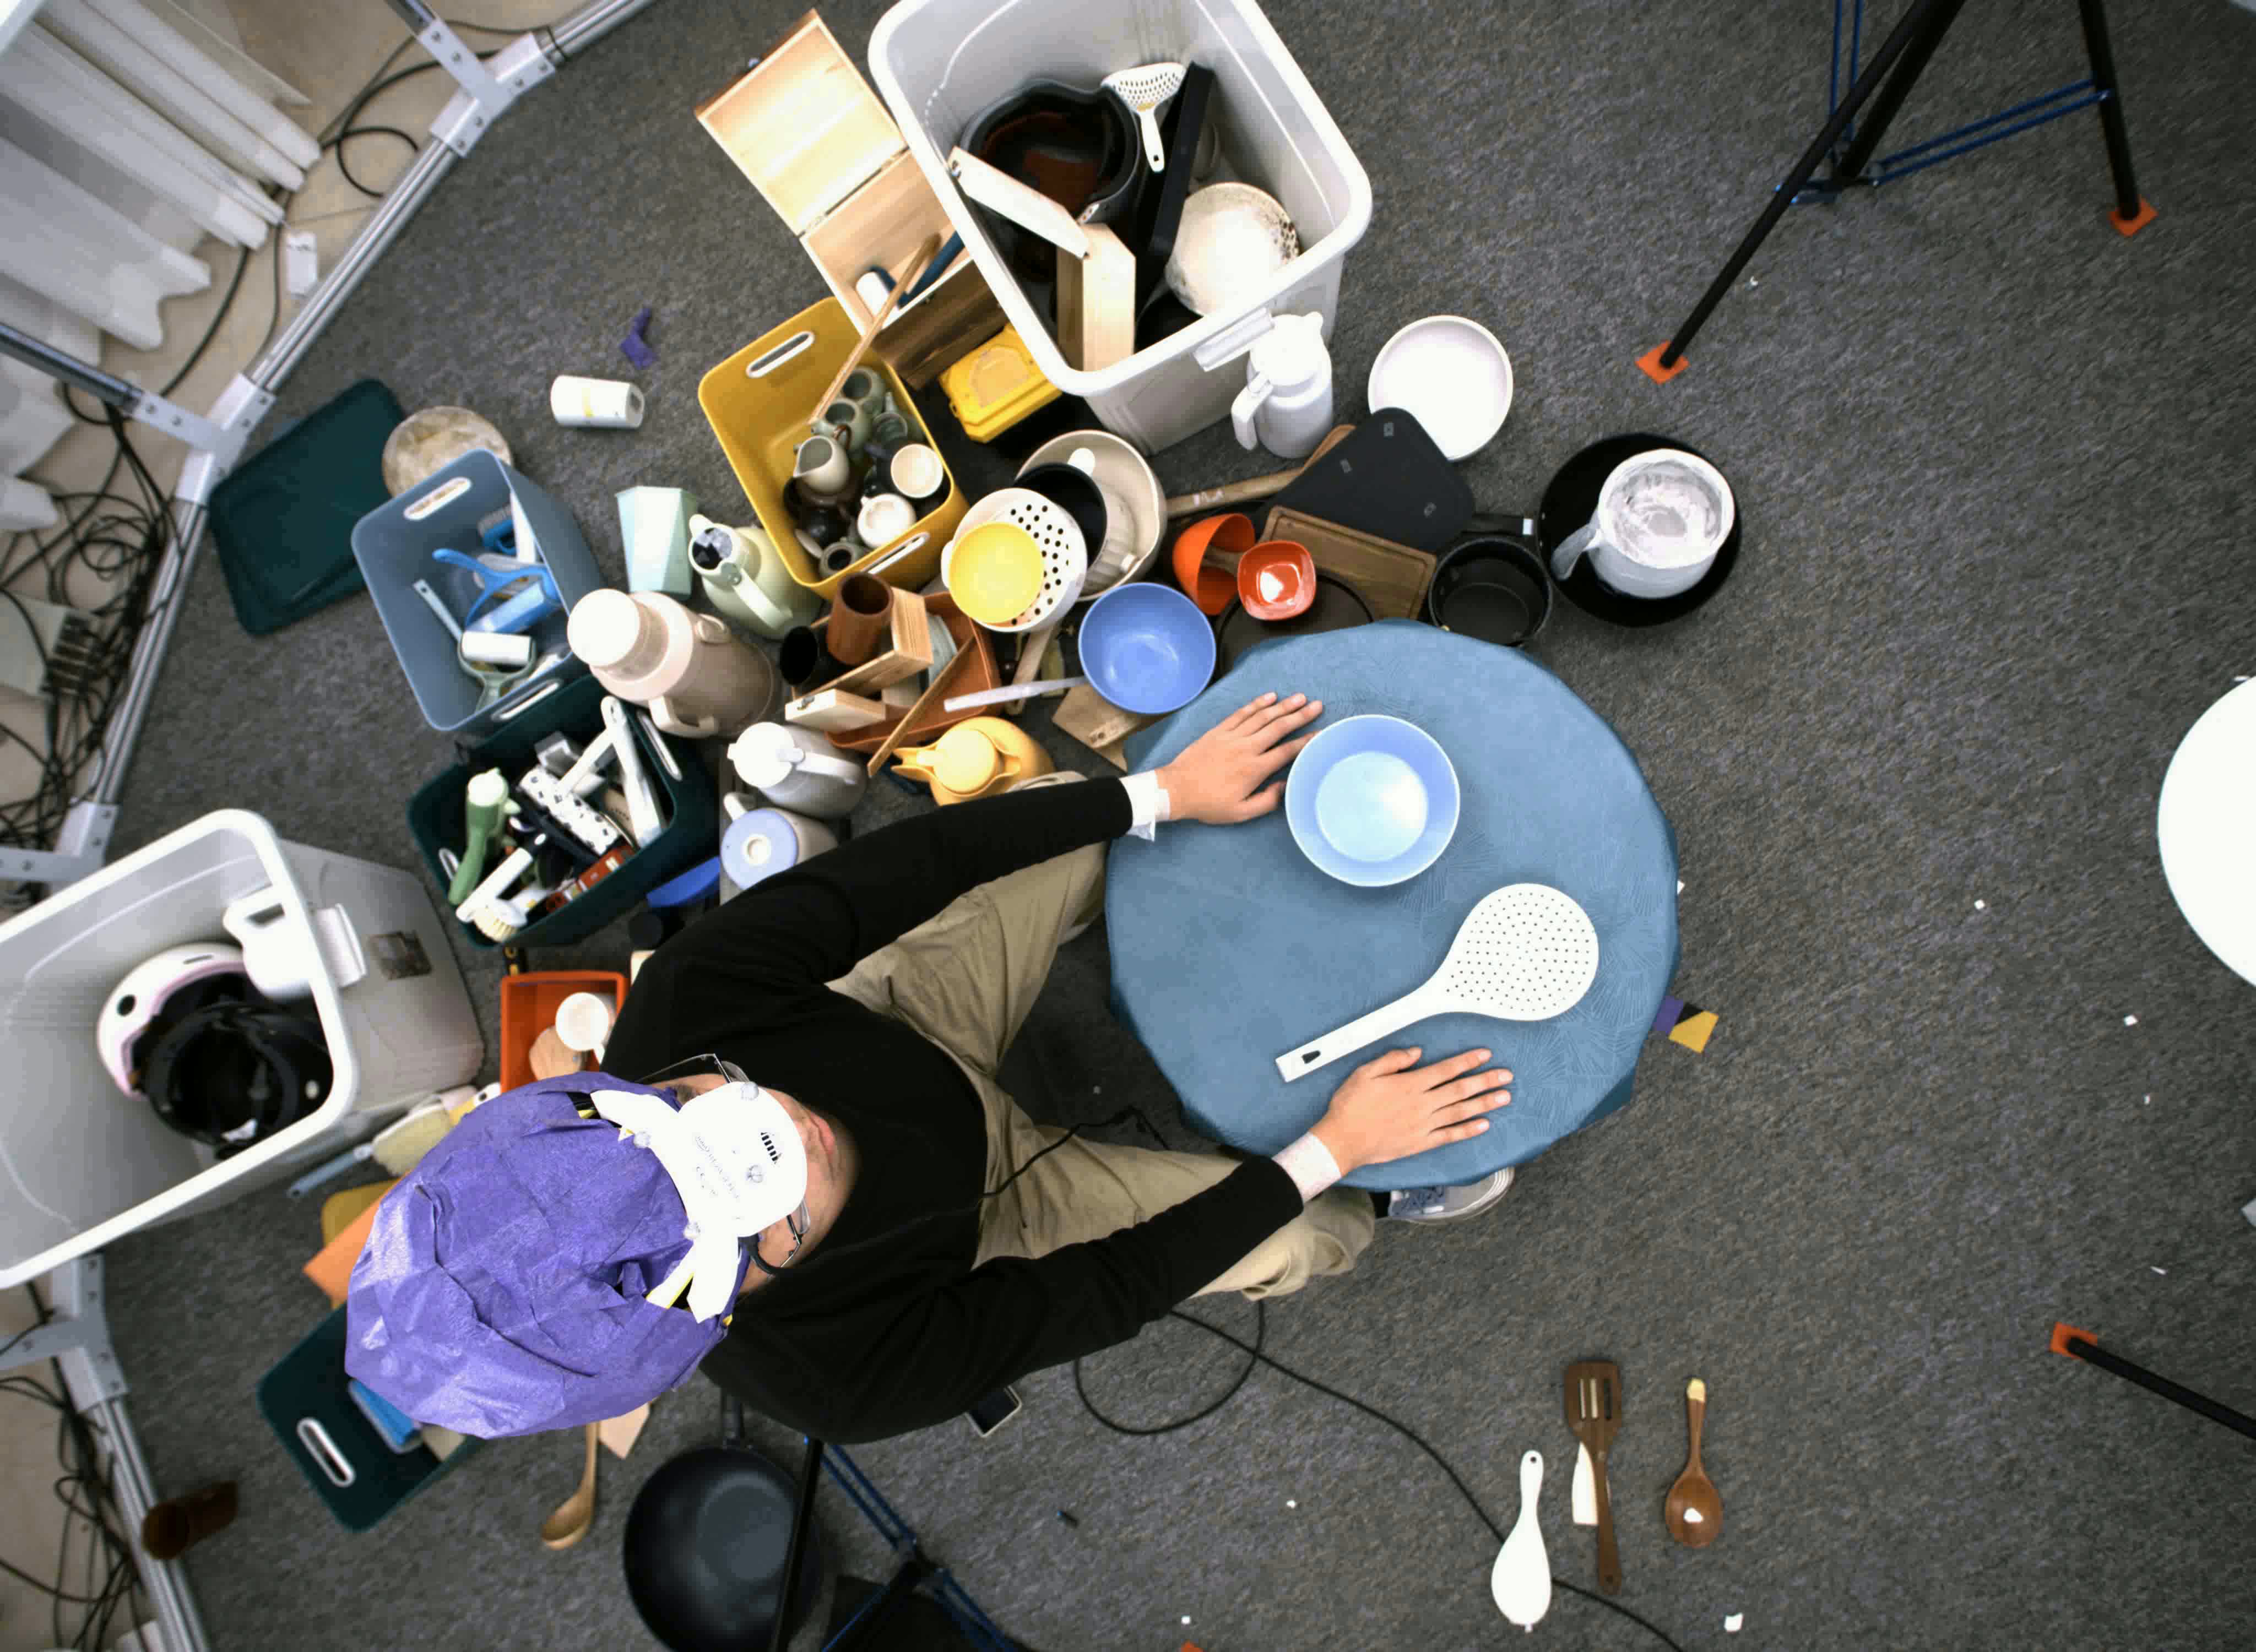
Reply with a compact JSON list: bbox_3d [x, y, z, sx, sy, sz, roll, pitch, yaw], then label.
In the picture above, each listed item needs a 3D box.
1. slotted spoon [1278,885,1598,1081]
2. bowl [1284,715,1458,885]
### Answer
[{"bbox_3d":[0.313,0.177,1.423,0.352,0.046,0.135,-28,82,9],"label":"slotted spoon"},{"bbox_3d":[0.252,-0.025,1.433,0.177,0.070,0.175,-1,86,11],"label":"bowl"}]
